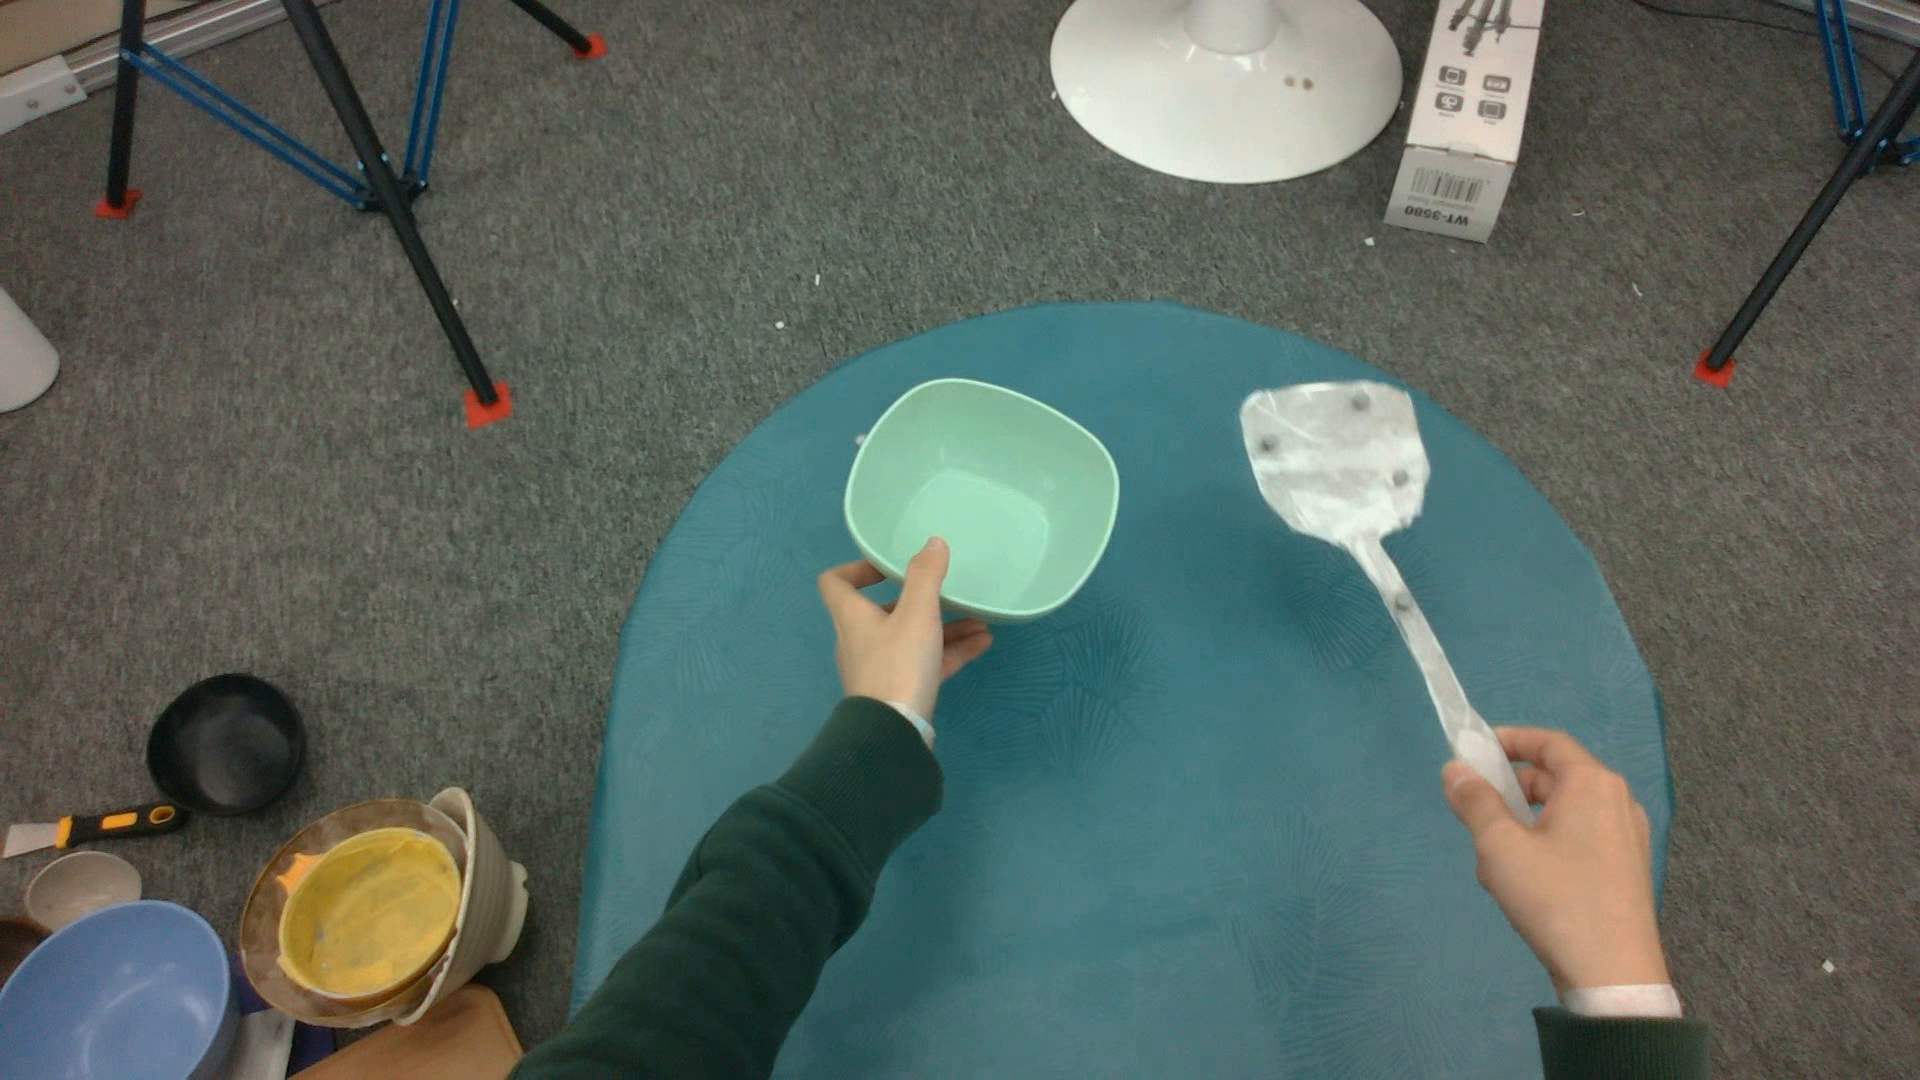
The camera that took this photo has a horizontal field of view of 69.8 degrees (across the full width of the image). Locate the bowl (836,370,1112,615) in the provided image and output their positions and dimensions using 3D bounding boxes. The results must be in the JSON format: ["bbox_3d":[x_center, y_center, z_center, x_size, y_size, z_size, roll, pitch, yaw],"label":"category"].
[{"bbox_3d":[0.005,-0.017,0.743,0.151,0.058,0.152,4,58,-7],"label":"bowl"}]

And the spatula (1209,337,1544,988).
[{"bbox_3d":[0.202,0.030,0.645,0.099,0.044,0.366,-5,44,-4],"label":"spatula"}]
